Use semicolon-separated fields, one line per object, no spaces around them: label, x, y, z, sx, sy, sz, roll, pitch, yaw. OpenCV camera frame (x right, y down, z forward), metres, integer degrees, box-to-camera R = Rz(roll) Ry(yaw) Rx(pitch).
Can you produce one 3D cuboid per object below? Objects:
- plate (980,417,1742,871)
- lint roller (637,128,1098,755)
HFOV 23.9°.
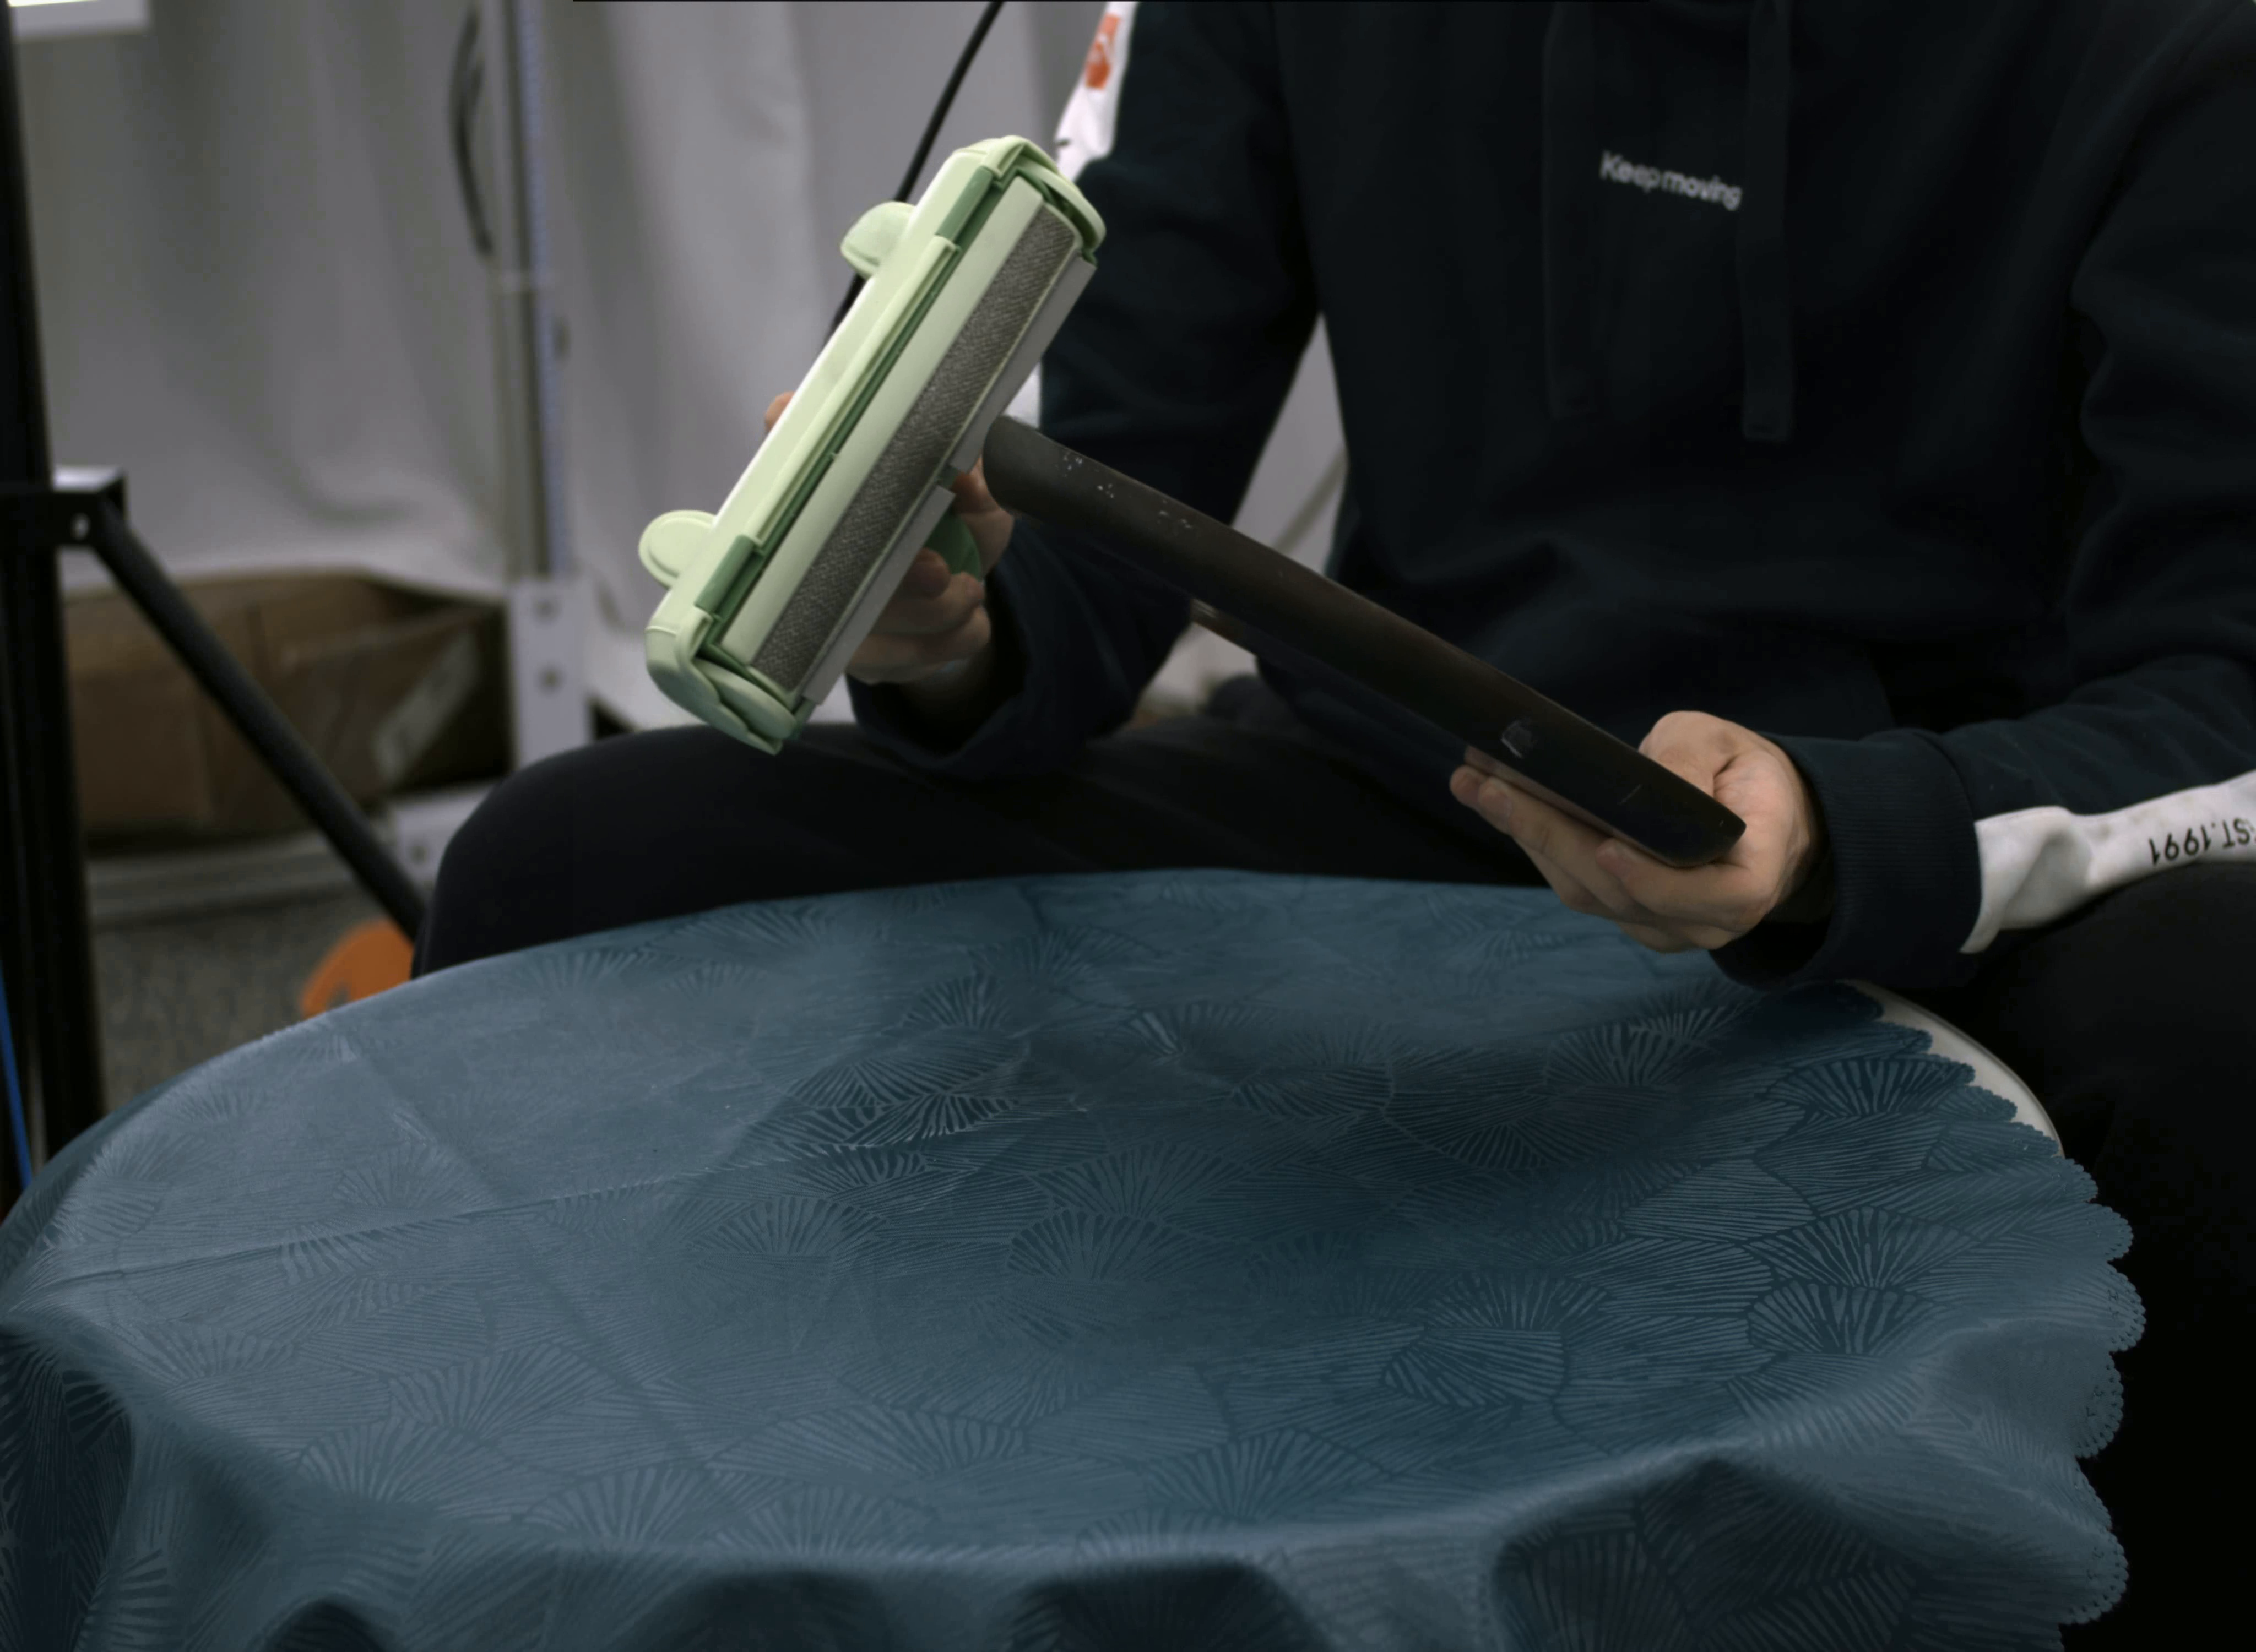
plate;0.066;-0.051;1.561;0.254;0.029;0.255;27;1;-2
lint roller;-0.085;-0.107;1.662;0.082;0.198;0.183;30;-13;4
